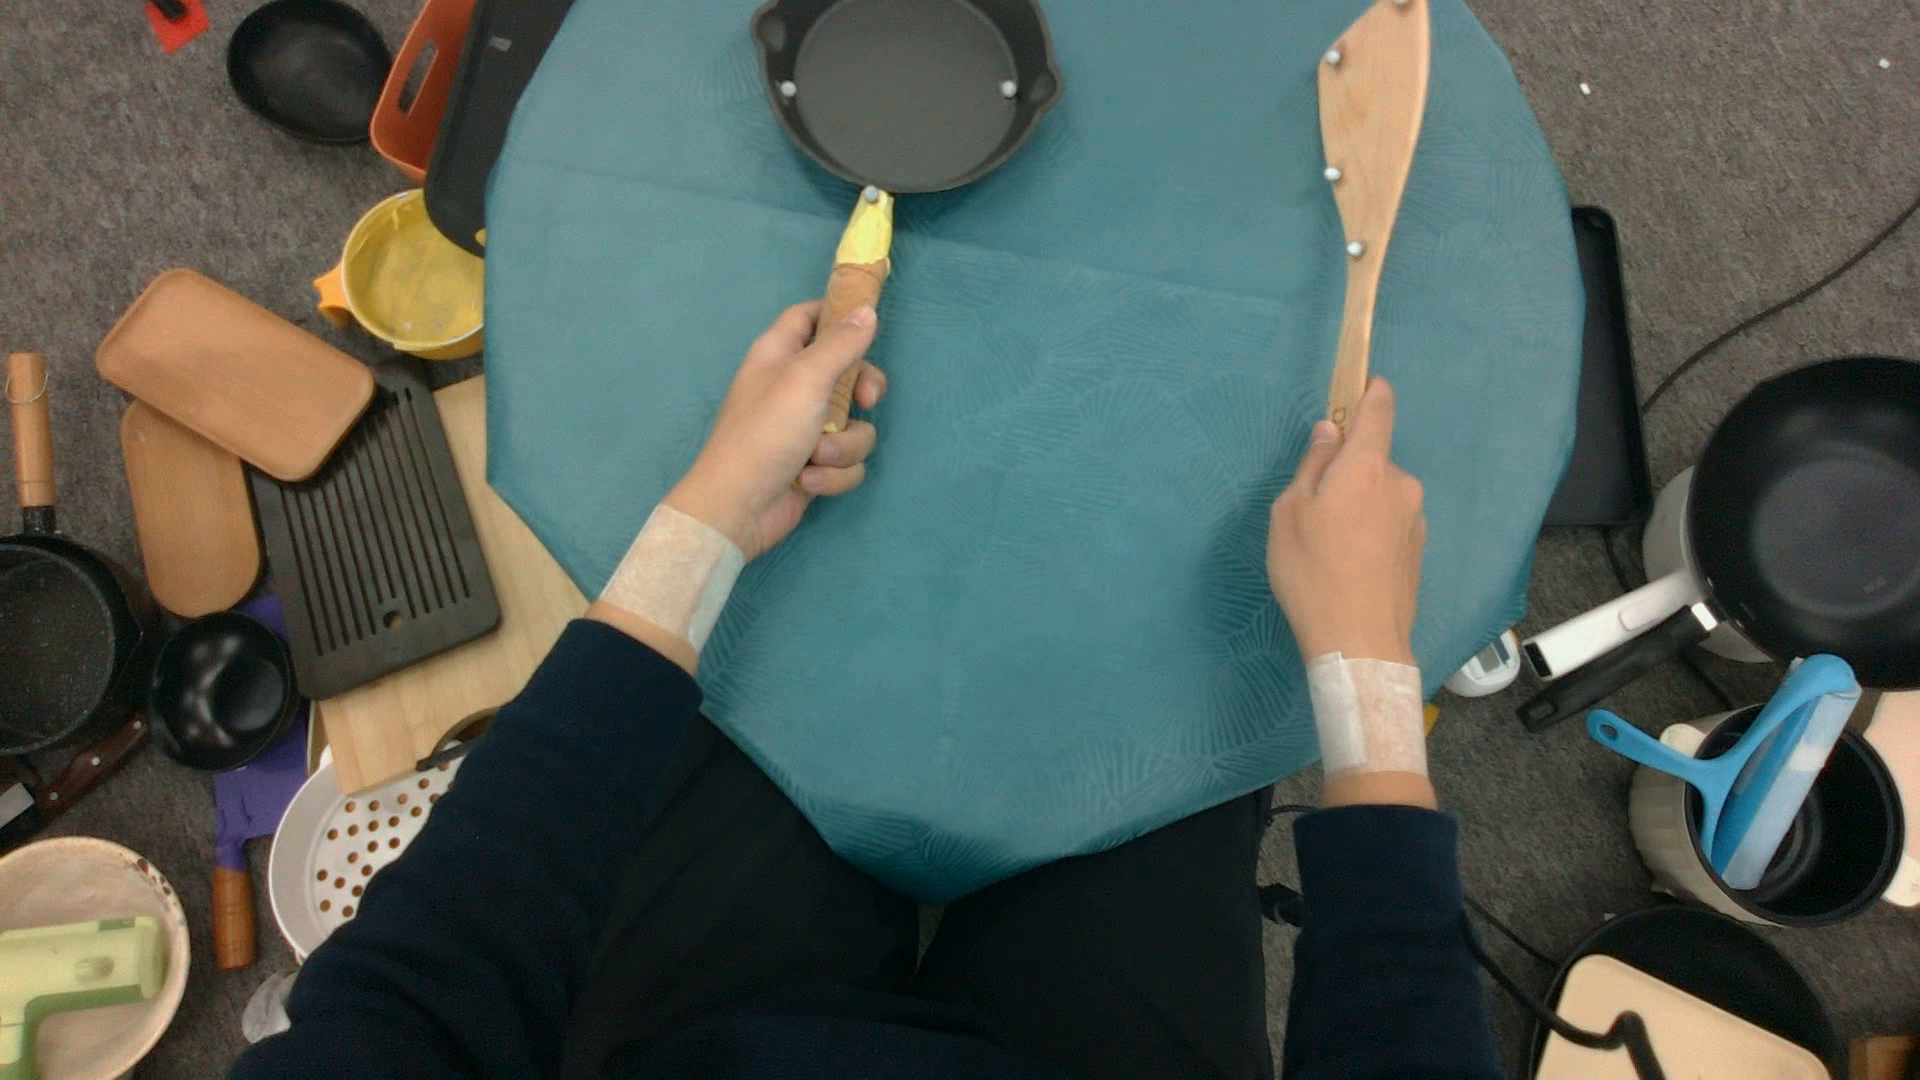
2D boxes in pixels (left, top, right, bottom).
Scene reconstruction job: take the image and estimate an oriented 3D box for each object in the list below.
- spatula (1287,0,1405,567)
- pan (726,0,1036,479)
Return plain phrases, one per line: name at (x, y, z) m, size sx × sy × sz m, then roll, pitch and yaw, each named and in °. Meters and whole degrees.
spatula at (0.192, -0.144, 0.720) m, size 0.016 × 0.079 × 0.328 m, roll 18°, pitch 72°, yaw -31°
pan at (-0.060, -0.182, 0.722) m, size 0.169 × 0.049 × 0.325 m, roll 13°, pitch 75°, yaw -1°
